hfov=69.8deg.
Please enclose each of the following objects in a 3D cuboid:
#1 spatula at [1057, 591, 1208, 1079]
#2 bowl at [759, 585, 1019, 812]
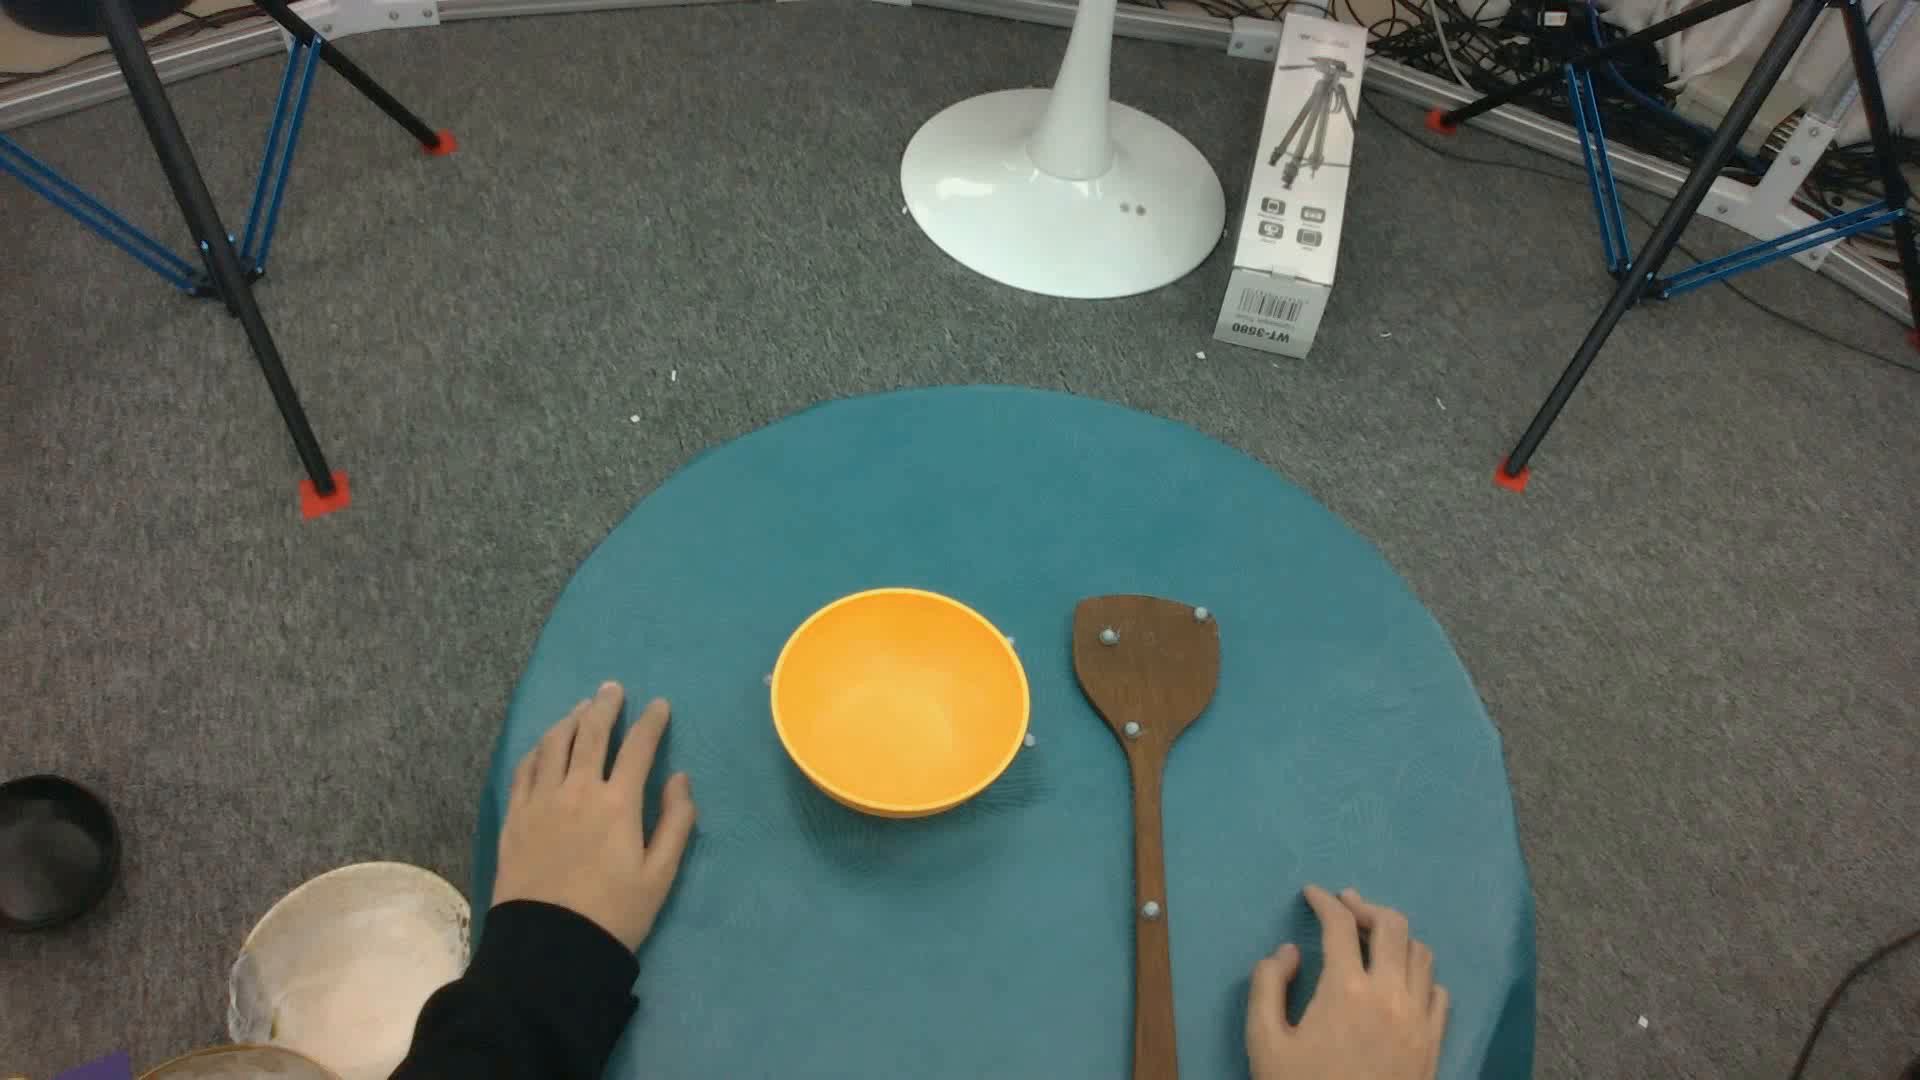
[{"bbox_3d":[0.099,0.185,0.769,0.096,0.016,0.388,7,51,-3],"label":"spatula"},{"bbox_3d":[-0.041,0.100,0.790,0.145,0.060,0.146,3,52,-3],"label":"bowl"}]
